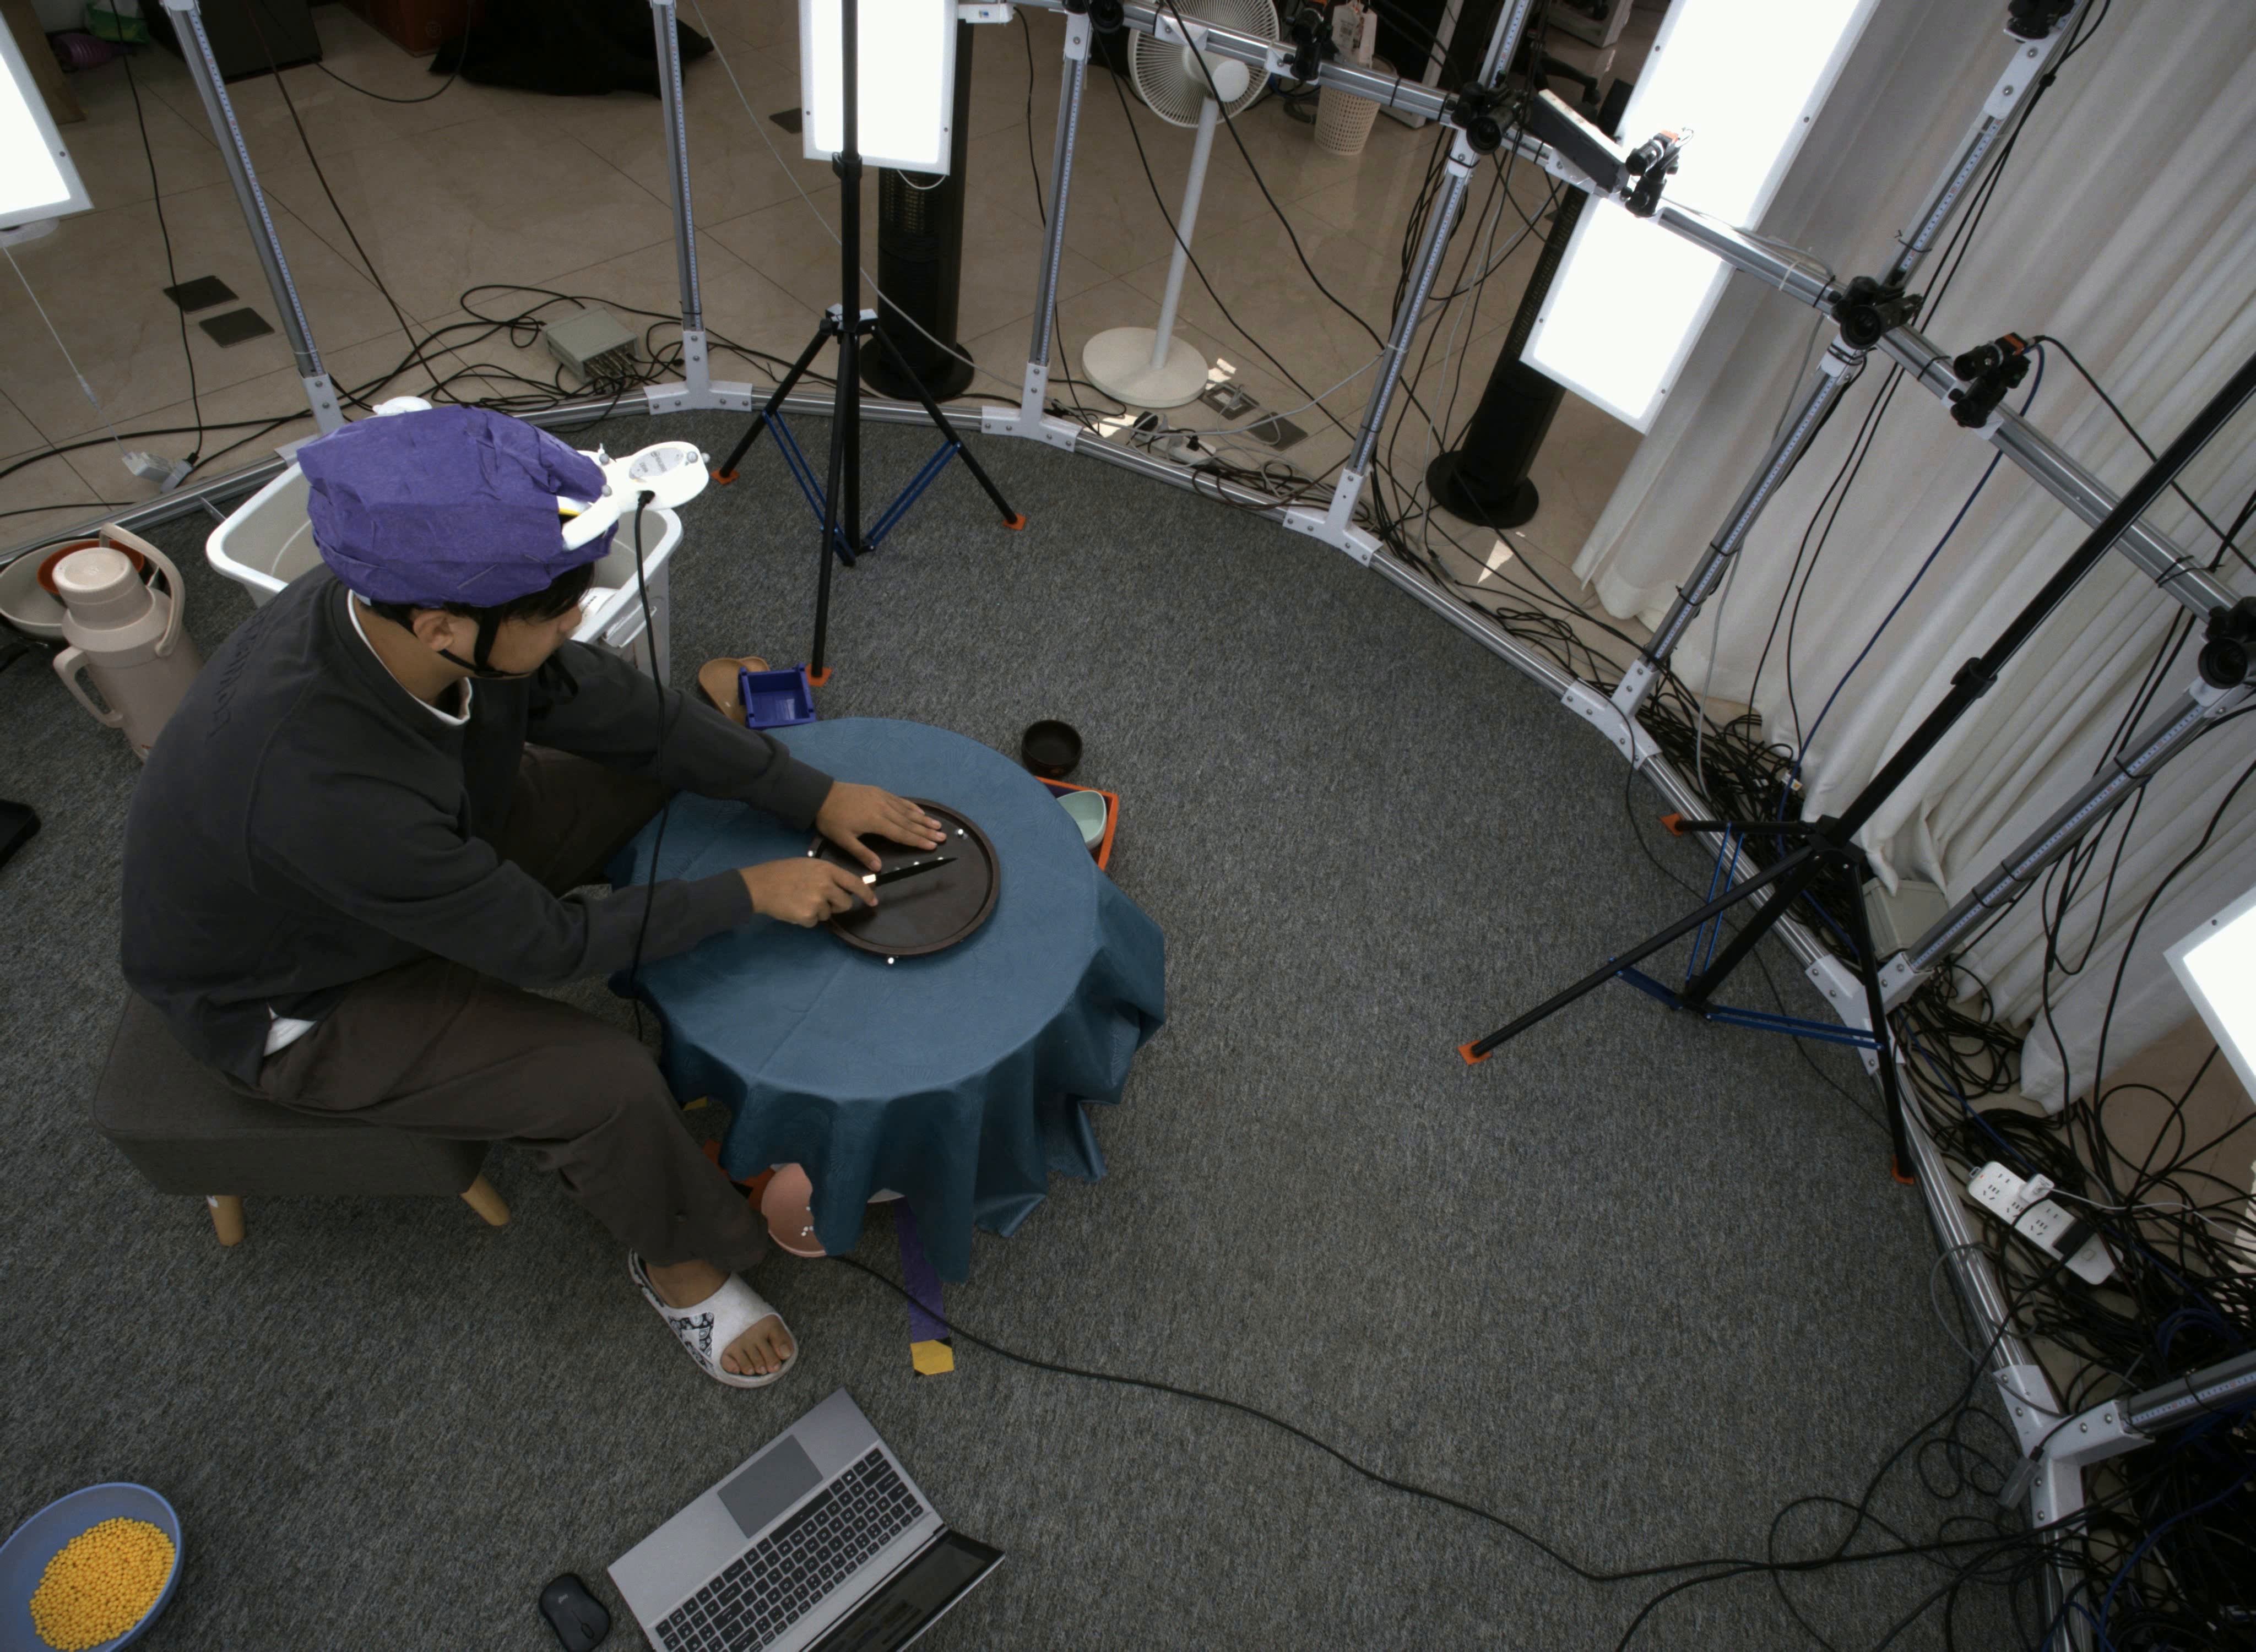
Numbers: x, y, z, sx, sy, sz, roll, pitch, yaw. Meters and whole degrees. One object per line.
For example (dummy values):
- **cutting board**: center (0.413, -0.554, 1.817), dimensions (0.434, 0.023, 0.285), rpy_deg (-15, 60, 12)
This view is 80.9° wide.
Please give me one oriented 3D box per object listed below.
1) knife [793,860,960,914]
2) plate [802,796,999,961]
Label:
- **knife**: center (-0.315, 0.070, 1.644), dimensions (0.227, 0.027, 0.017), rpy_deg (-17, 55, -27)
- **plate**: center (-0.293, 0.065, 1.690), dimensions (0.254, 0.029, 0.250), rpy_deg (7, 54, -8)
